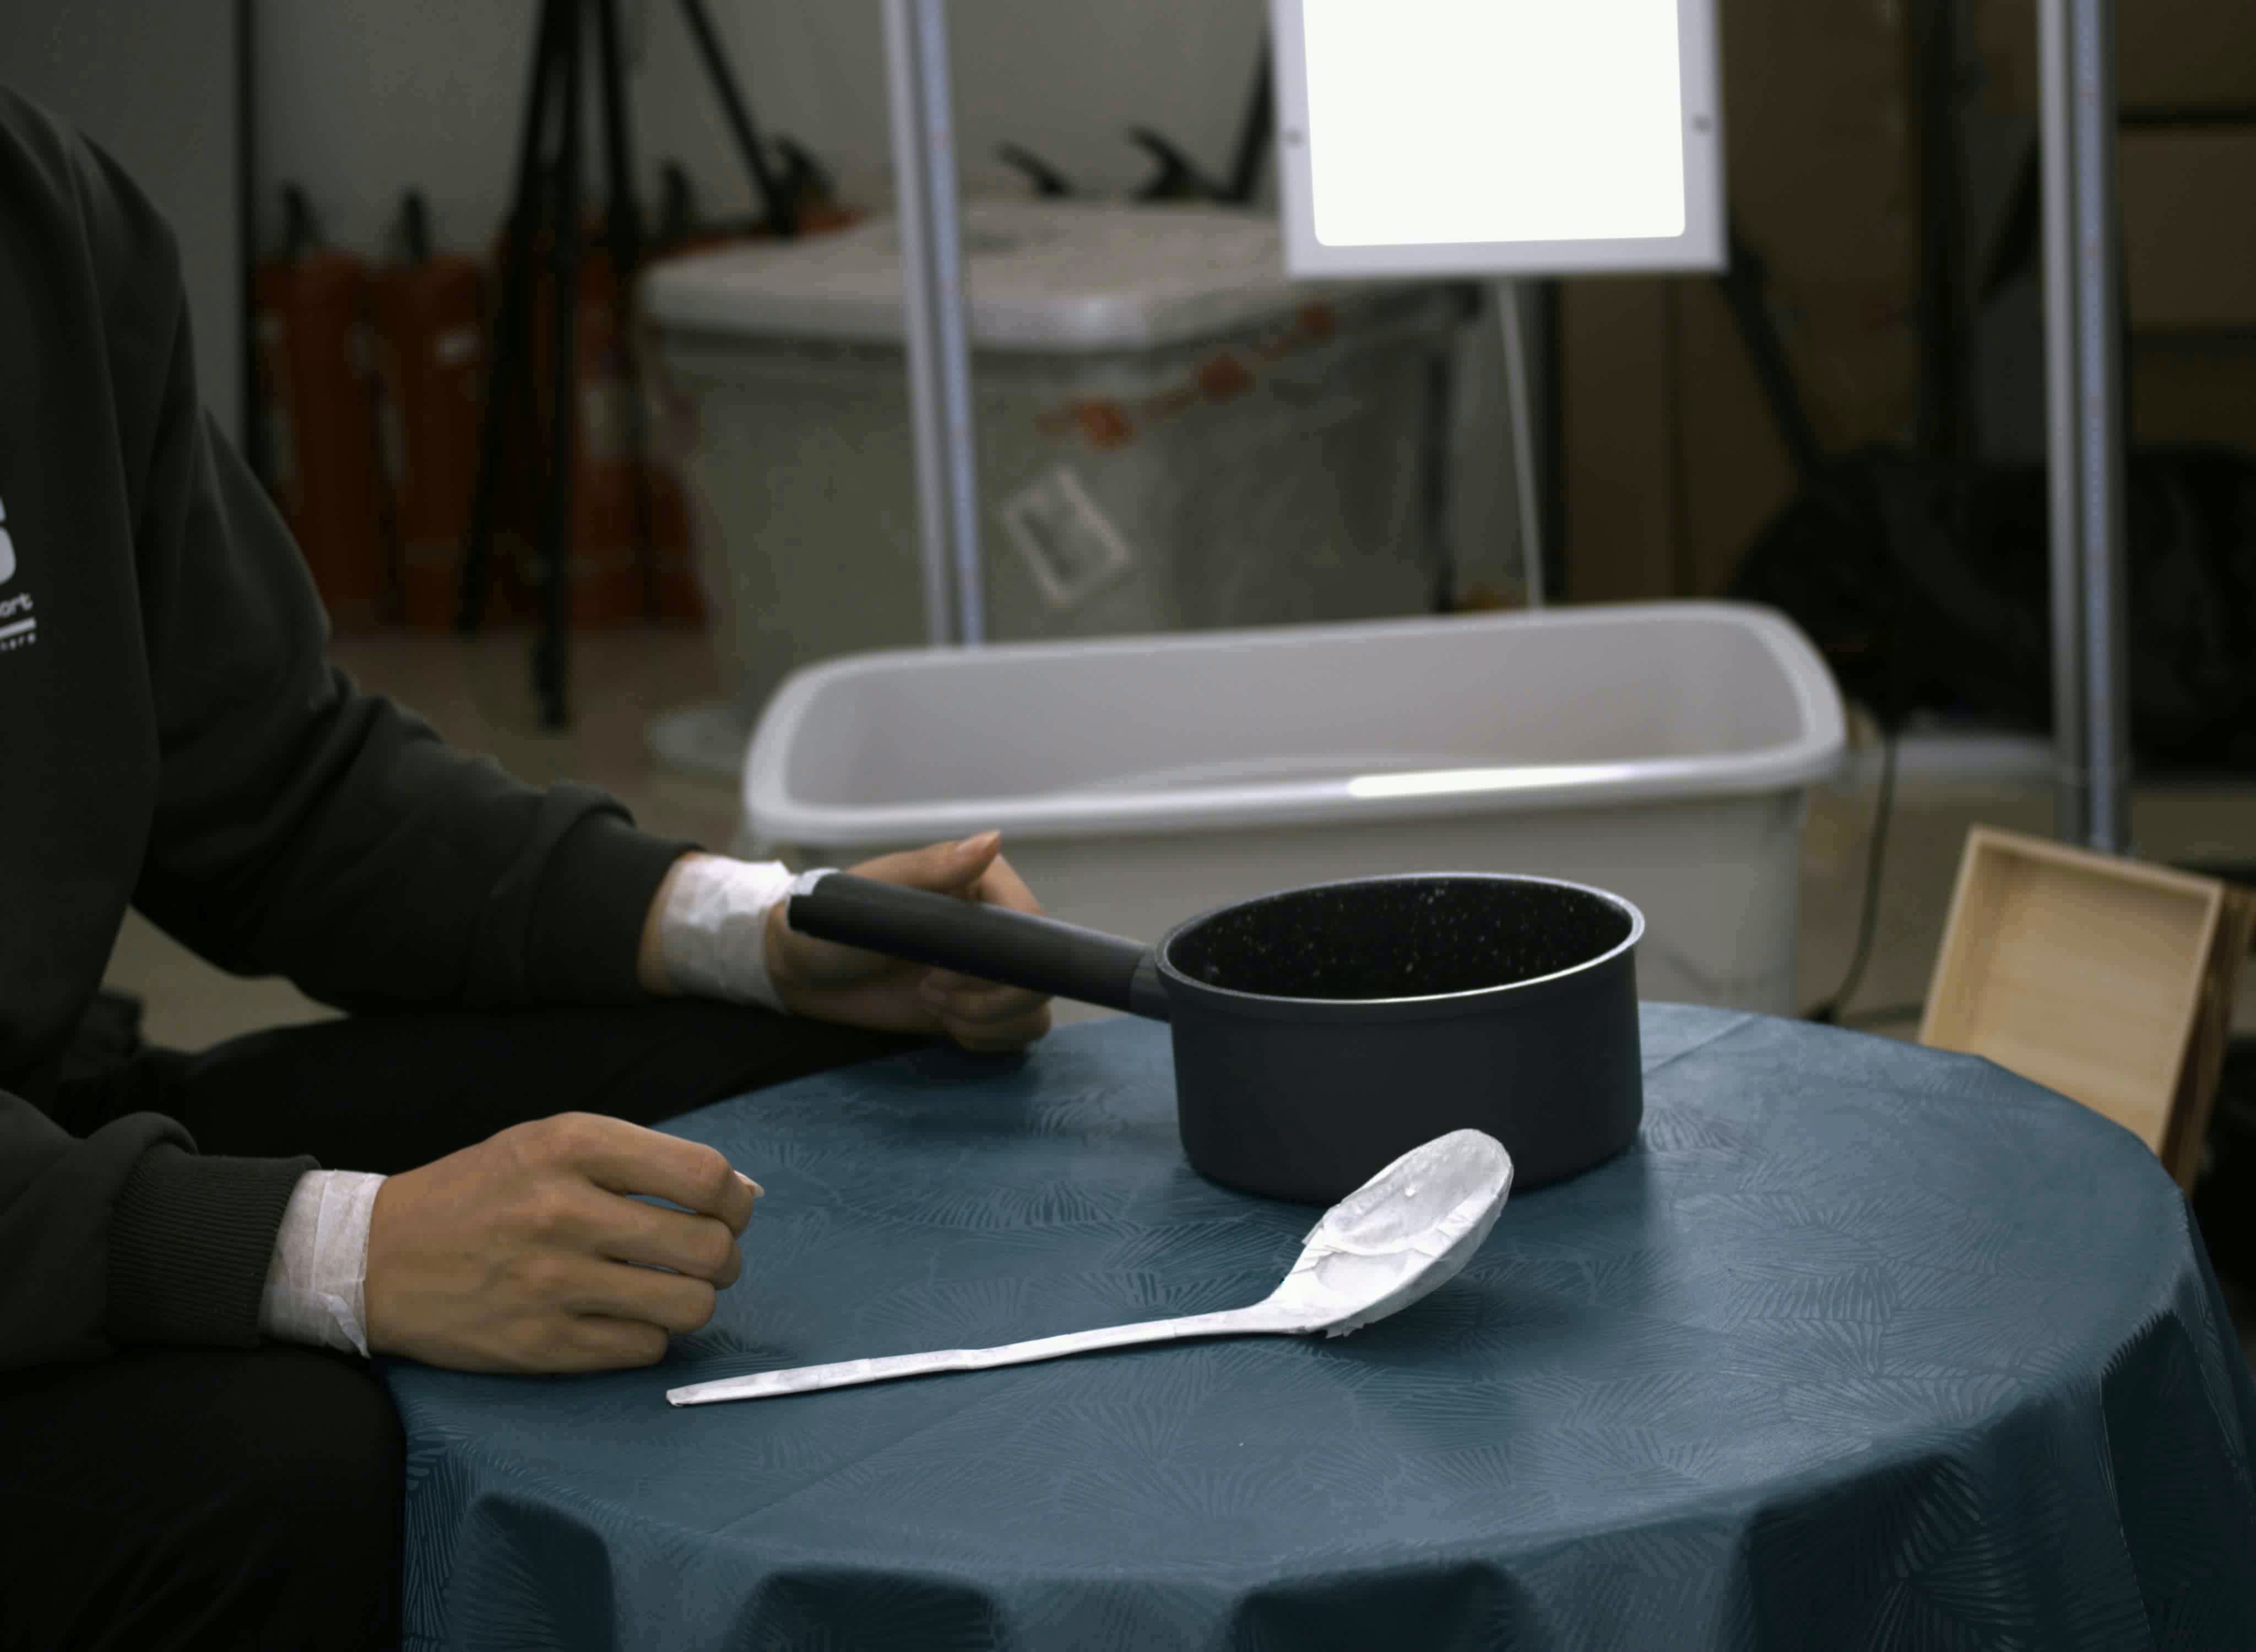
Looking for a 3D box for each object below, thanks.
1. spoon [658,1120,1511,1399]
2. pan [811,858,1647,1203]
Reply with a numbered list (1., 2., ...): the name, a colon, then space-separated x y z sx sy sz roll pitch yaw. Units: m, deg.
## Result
1. spoon: -0.014 0.137 1.746 0.276 0.059 0.101 -6 11 -2
2. pan: 0.030 0.066 1.965 0.335 0.087 0.168 4 15 32
